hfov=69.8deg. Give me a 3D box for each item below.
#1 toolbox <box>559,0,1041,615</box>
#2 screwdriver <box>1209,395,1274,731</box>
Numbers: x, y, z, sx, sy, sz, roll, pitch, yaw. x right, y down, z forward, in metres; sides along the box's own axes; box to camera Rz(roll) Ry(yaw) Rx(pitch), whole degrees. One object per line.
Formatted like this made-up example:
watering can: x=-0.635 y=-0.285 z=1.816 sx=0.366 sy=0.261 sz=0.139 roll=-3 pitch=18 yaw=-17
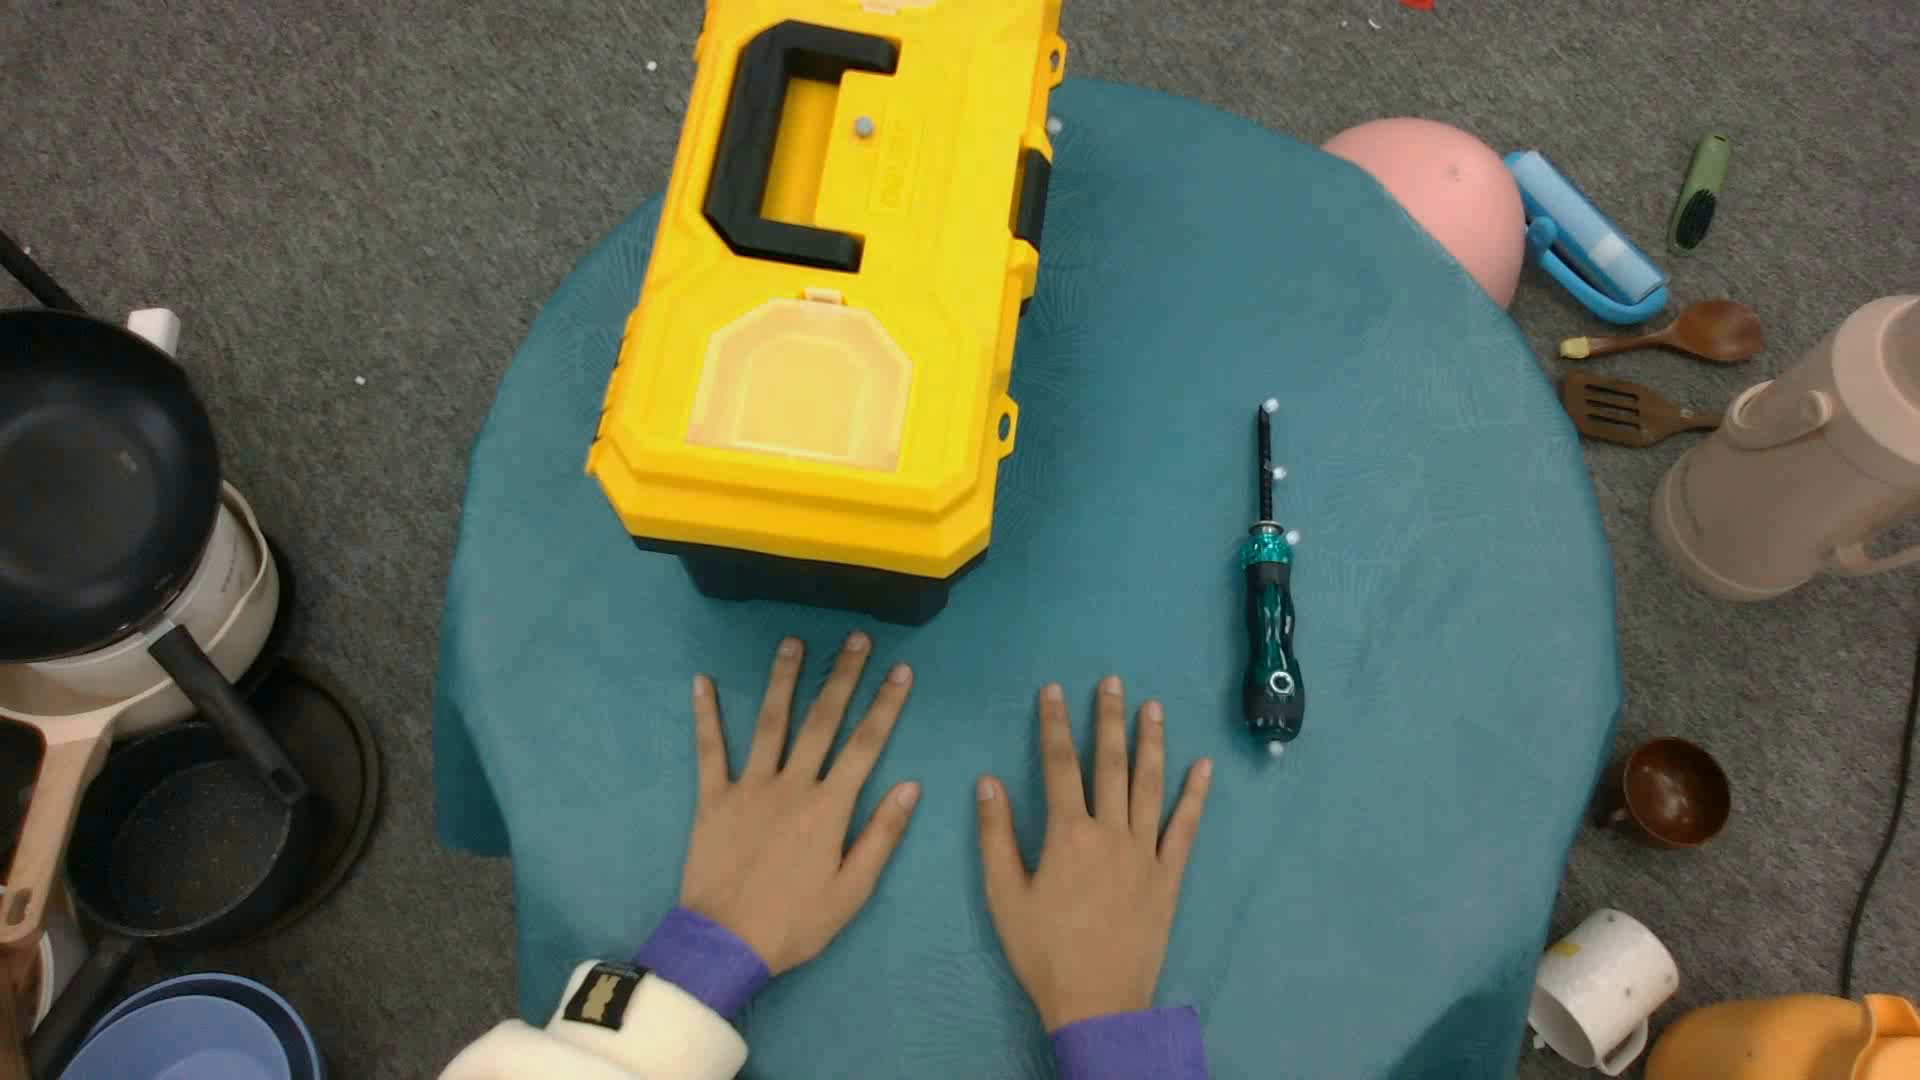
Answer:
toolbox: x=-0.066 y=-0.144 z=0.674 sx=0.181 sy=0.172 sz=0.353 roll=8 pitch=67 yaw=-1
screwdriver: x=0.143 y=0.006 z=0.711 sx=0.034 sy=0.033 sz=0.191 roll=5 pitch=62 yaw=-2
